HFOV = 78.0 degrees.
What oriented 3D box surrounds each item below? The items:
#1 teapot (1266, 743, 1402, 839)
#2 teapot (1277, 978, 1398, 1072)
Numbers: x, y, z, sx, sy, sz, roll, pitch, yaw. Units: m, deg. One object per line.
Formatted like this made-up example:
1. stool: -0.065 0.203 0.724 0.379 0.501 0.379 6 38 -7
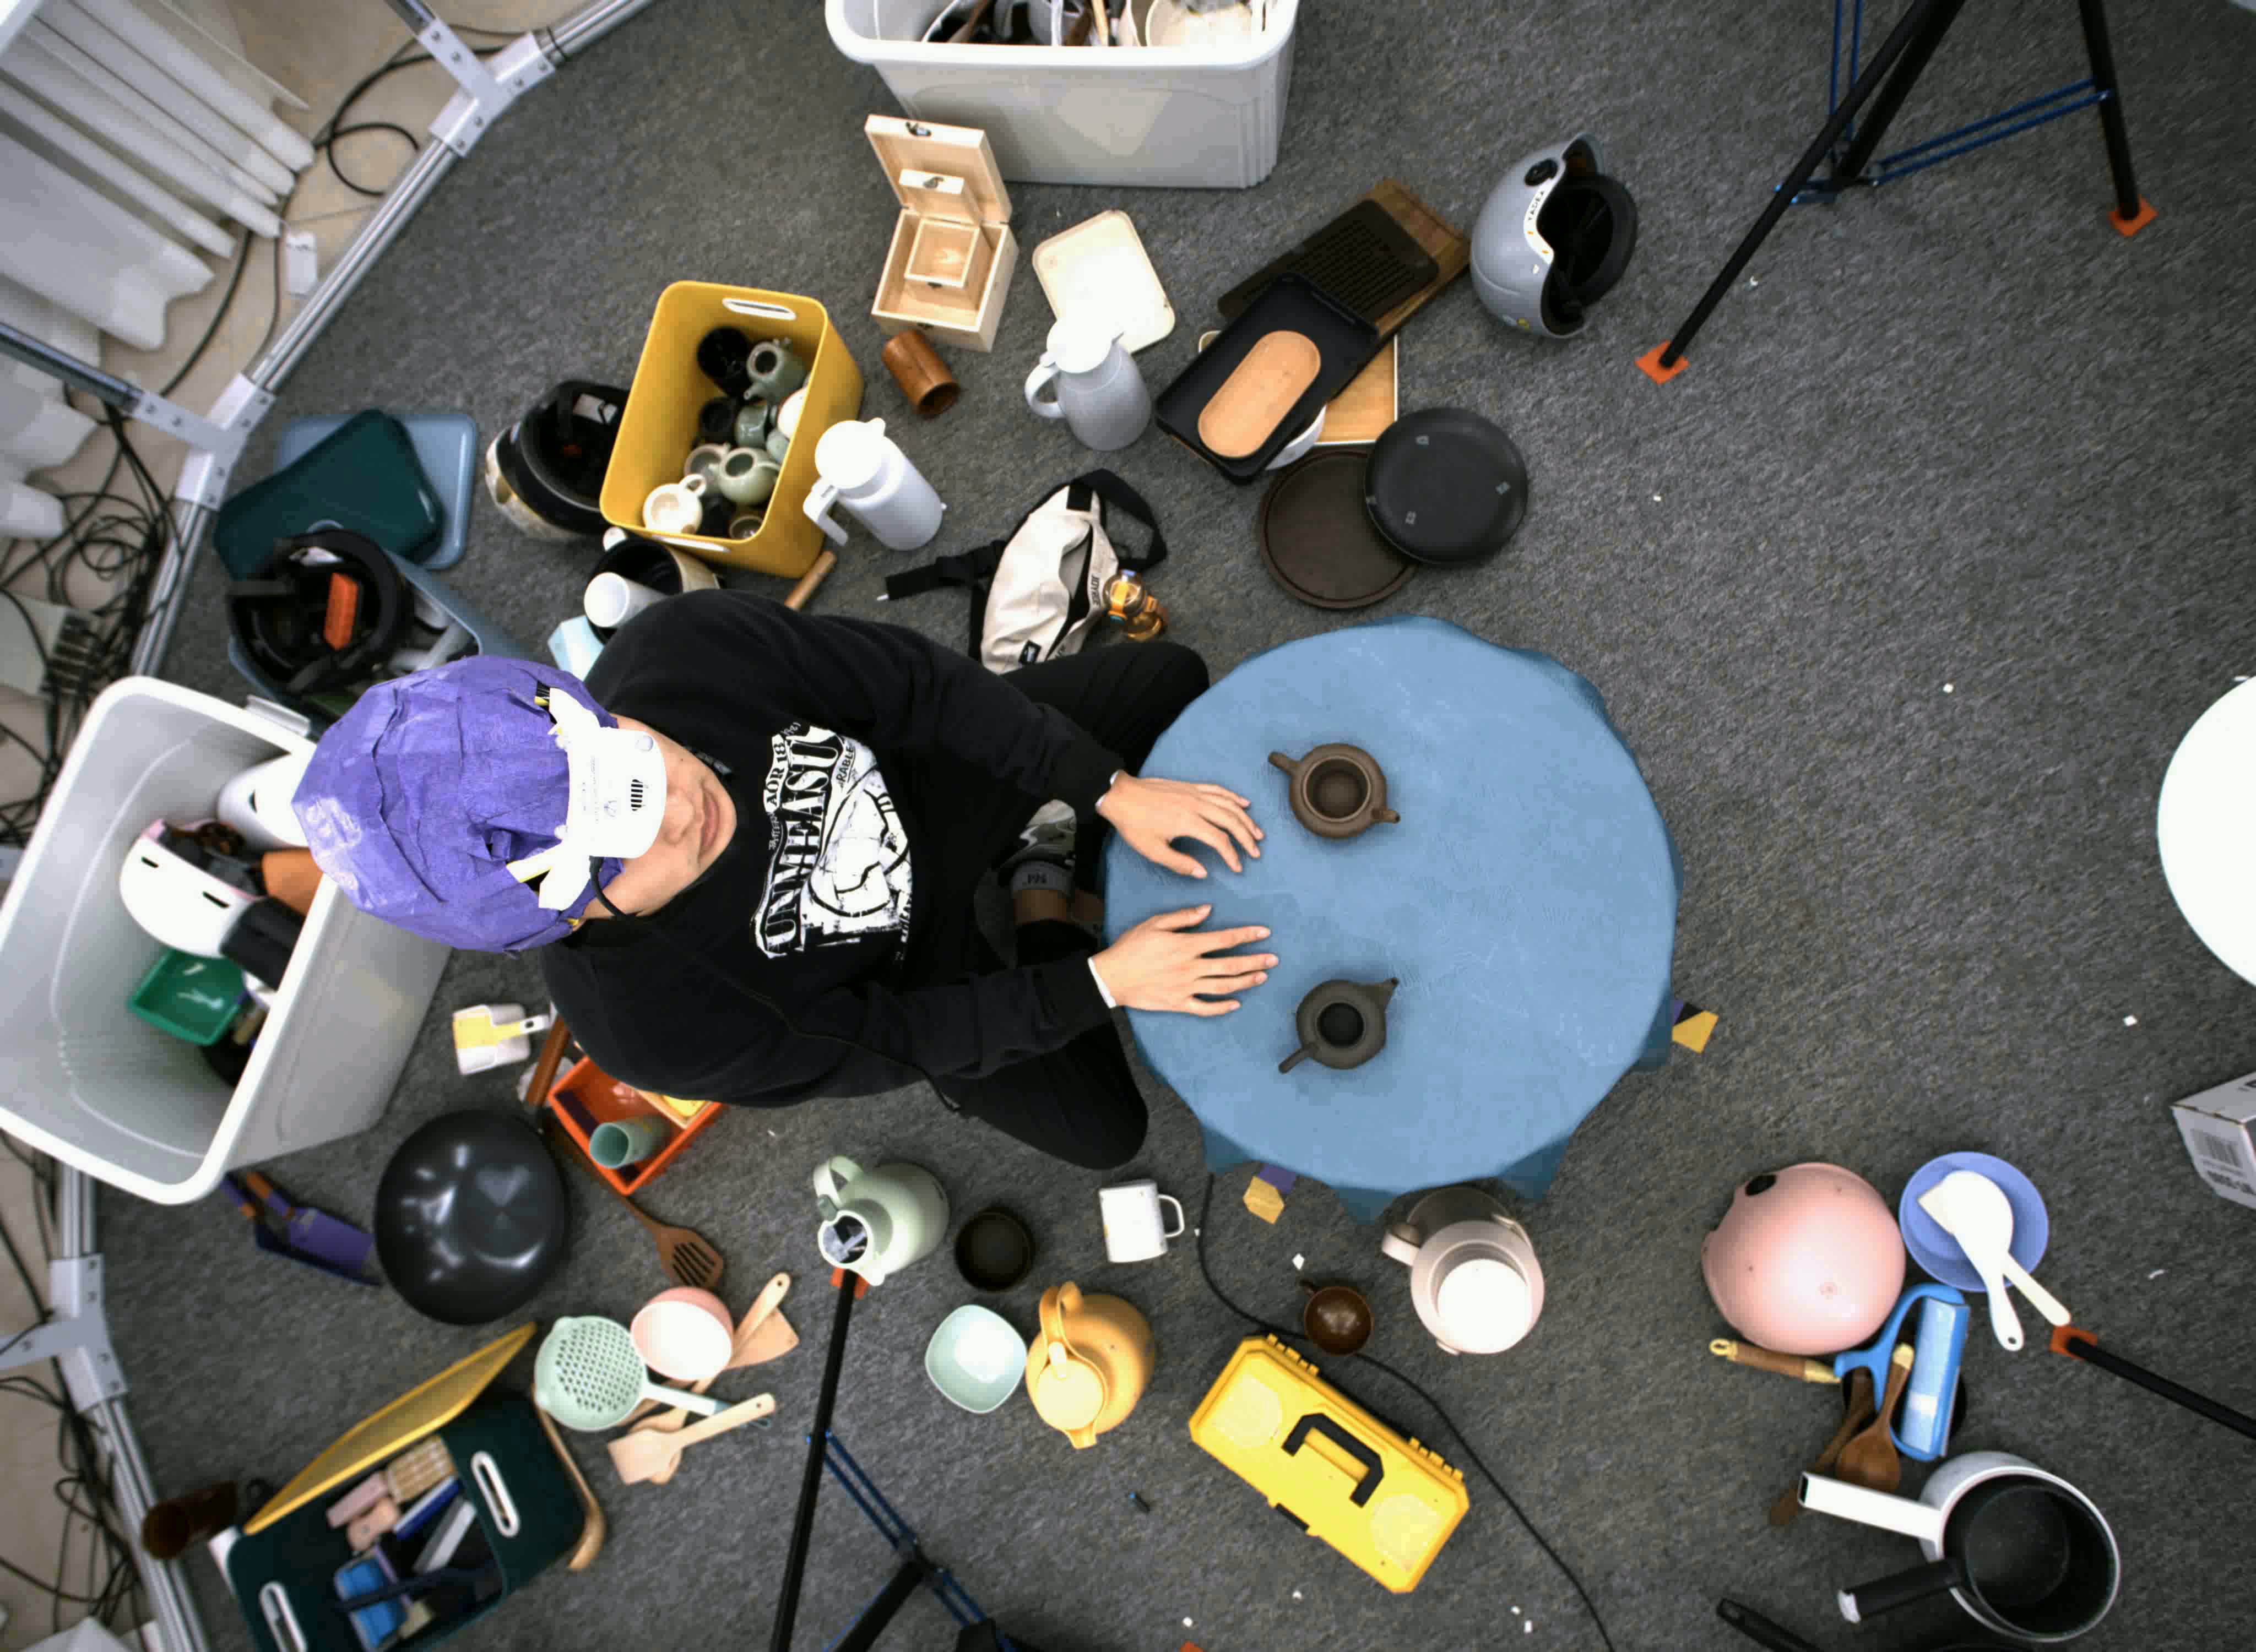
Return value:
1. teapot: 0.216 -0.040 1.449 0.153 0.054 0.102 23 89 11
2. teapot: 0.218 0.205 1.433 0.155 0.064 0.092 -38 78 6
